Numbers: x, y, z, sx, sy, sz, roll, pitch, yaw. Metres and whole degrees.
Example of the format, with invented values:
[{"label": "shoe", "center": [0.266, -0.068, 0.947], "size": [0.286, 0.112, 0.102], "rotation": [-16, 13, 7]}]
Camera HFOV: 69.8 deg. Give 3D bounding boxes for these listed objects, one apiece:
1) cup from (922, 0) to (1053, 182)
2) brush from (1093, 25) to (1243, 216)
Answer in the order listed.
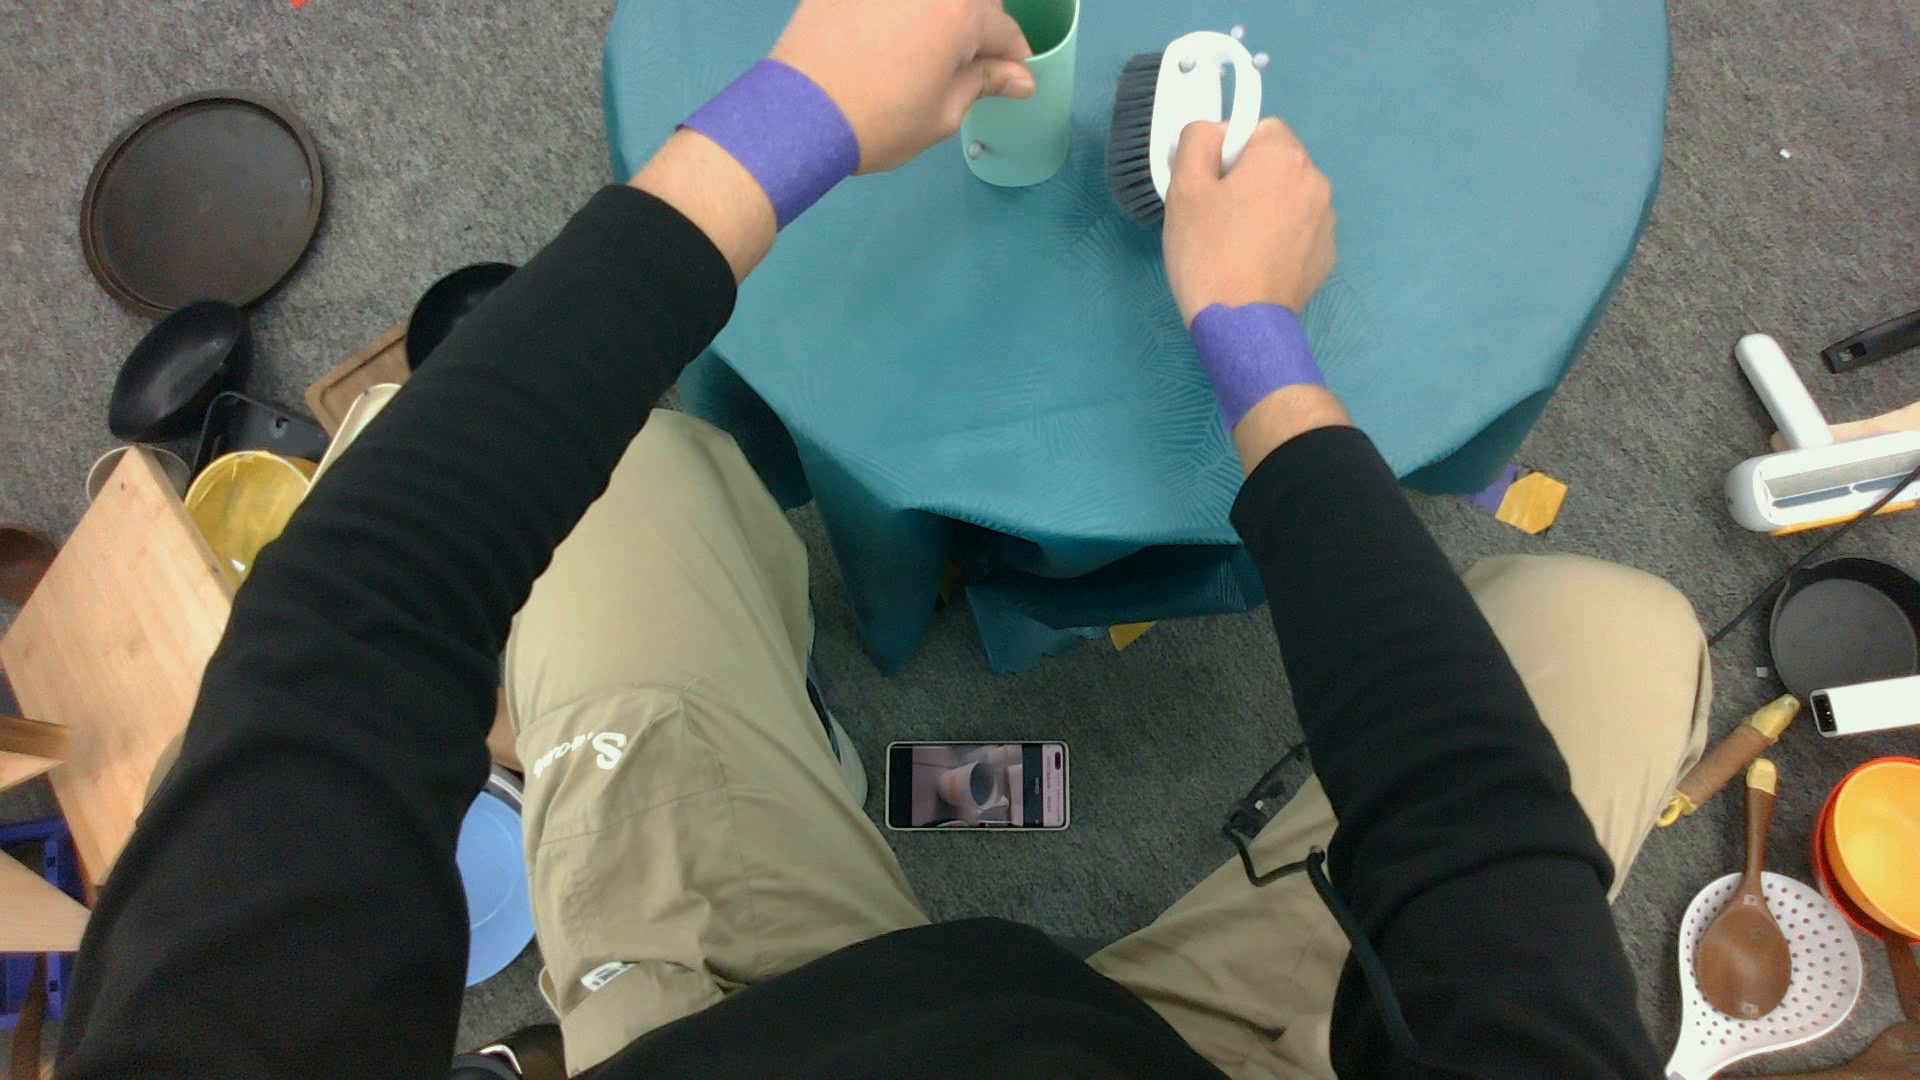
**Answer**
[{"label": "cup", "center": [0.017, -0.244, 0.718], "size": [0.067, 0.132, 0.067], "rotation": [0, 78, 2]}, {"label": "brush", "center": [0.115, -0.226, 0.727], "size": [0.050, 0.072, 0.099], "rotation": [26, 65, -38]}]
